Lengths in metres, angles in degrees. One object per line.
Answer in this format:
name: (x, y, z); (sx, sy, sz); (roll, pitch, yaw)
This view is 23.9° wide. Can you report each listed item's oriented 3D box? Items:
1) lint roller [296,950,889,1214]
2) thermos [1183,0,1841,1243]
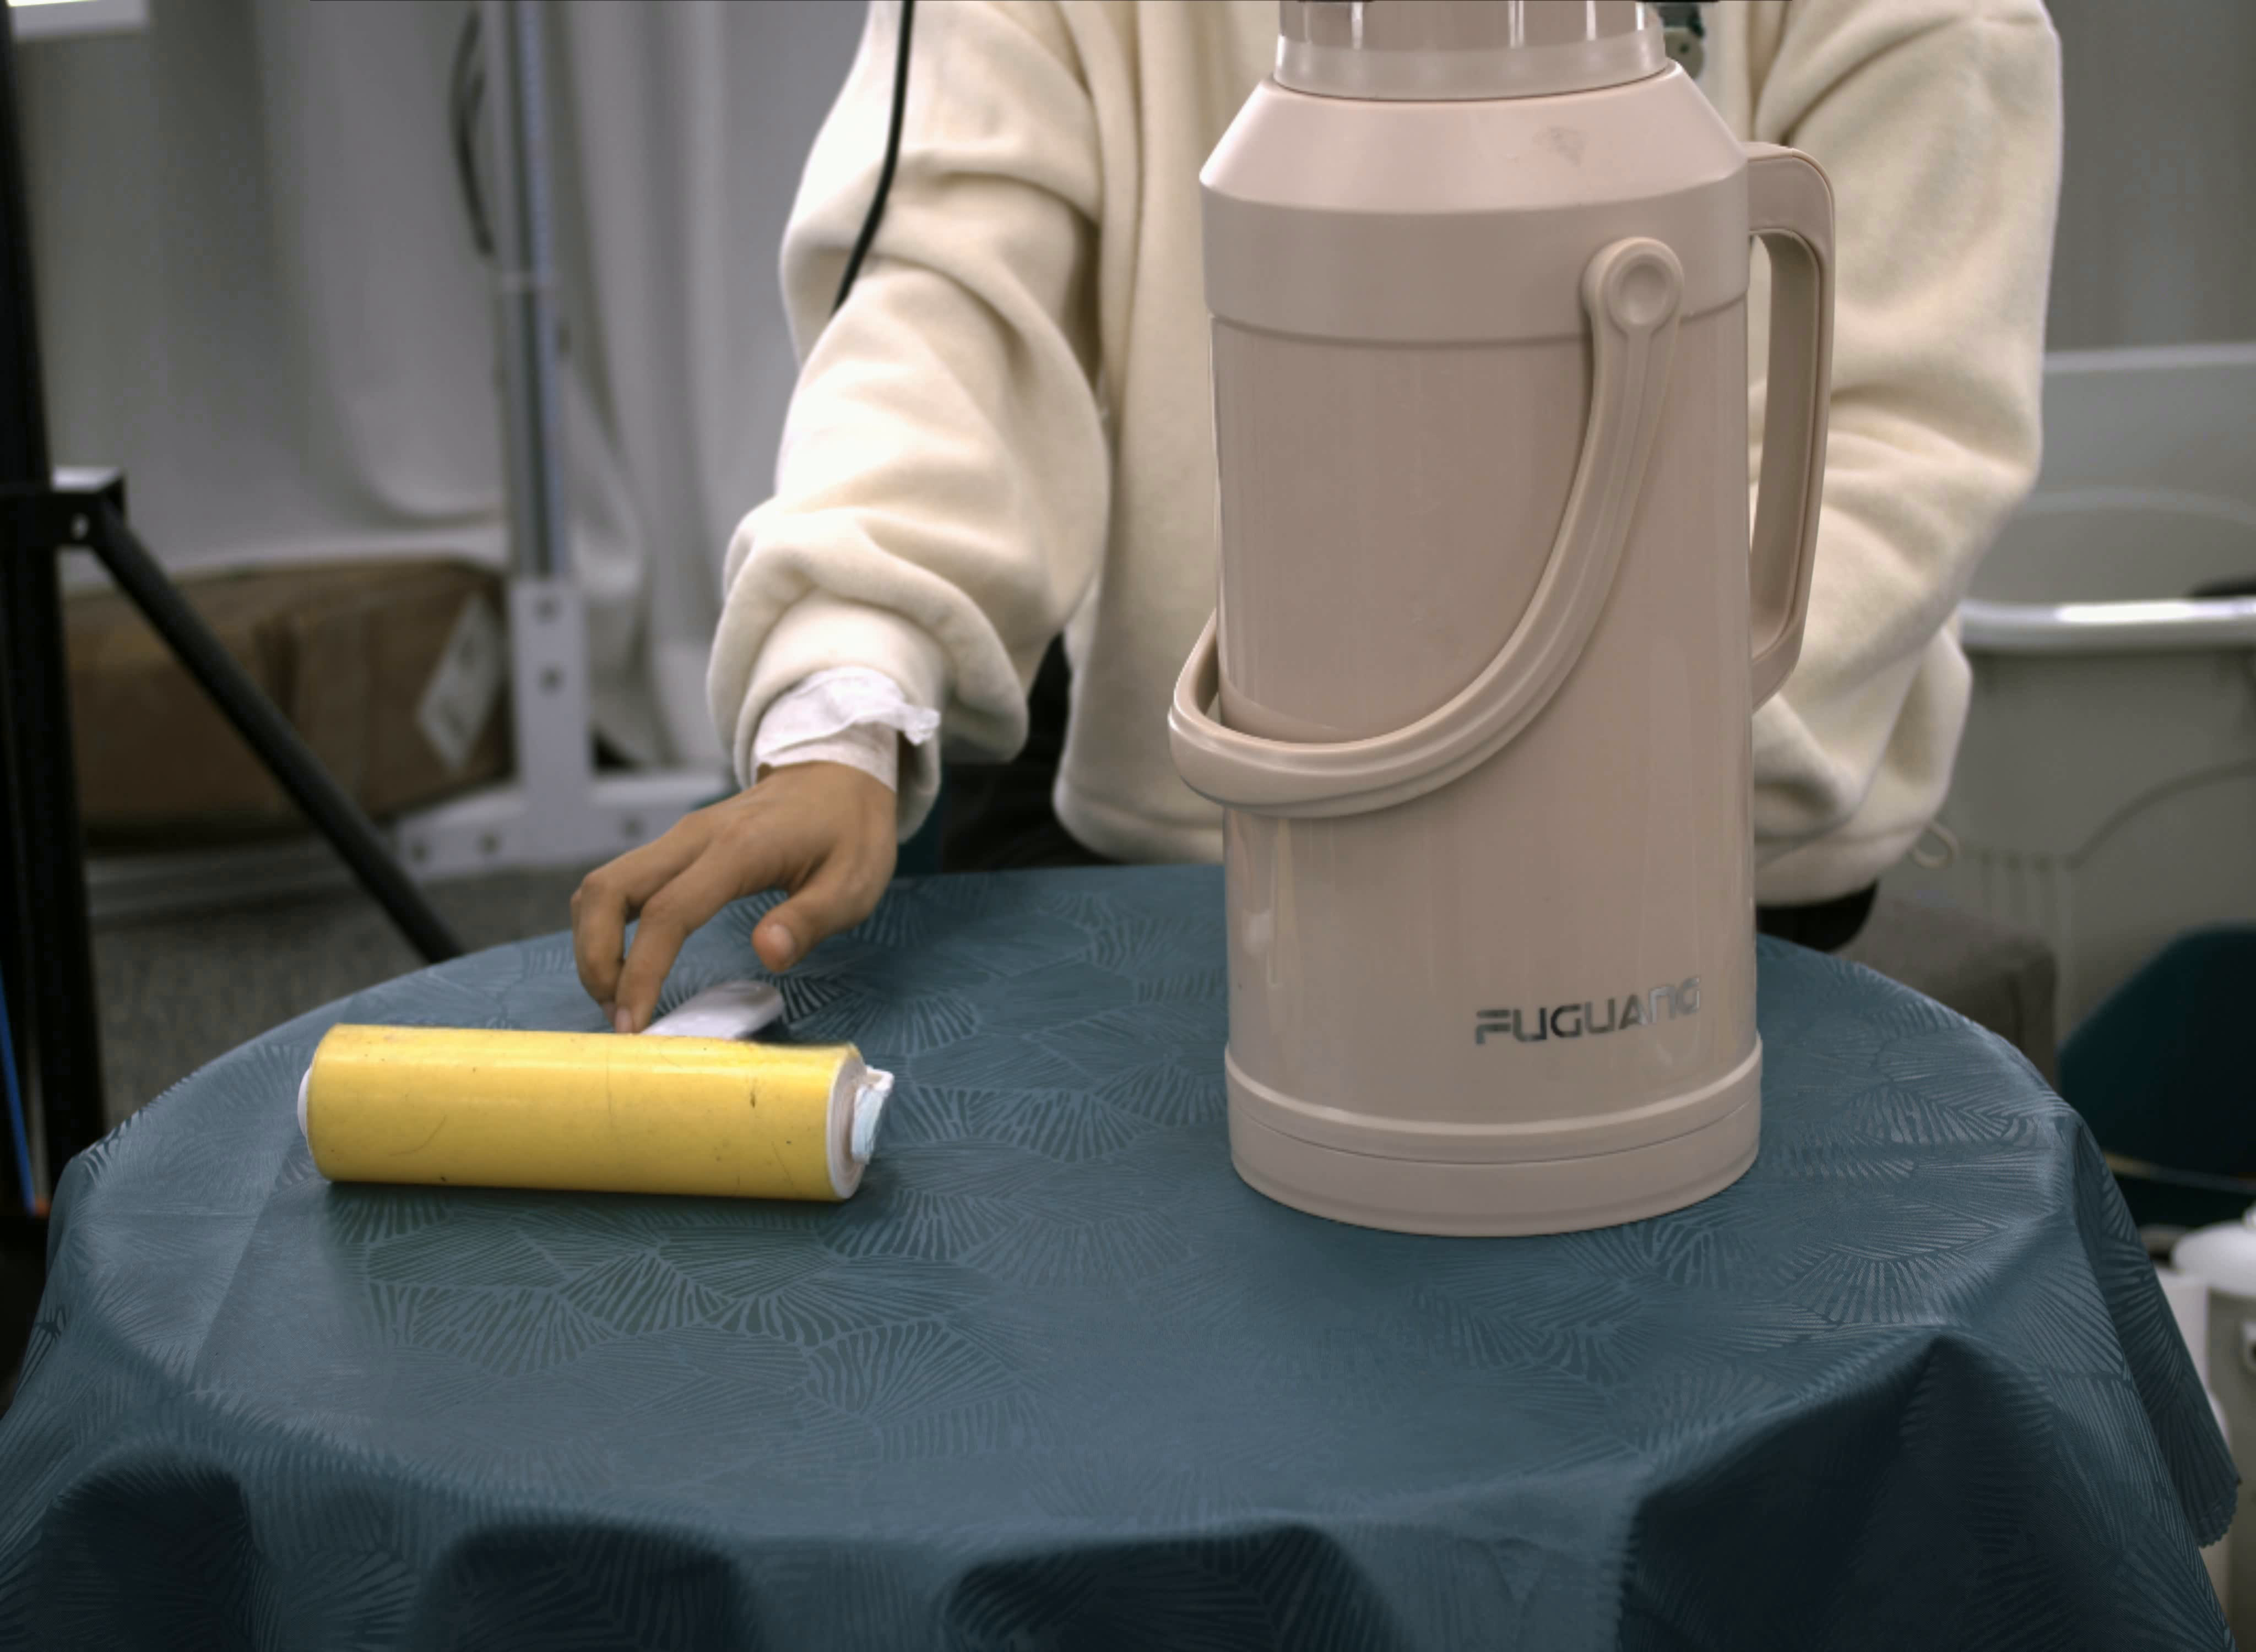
lint roller: (-0.147, 0.062, 1.644); (0.175, 0.051, 0.191); (1, 23, 13)
thermos: (0.115, -0.096, 1.533); (0.203, 0.406, 0.179); (-9, 16, -25)
